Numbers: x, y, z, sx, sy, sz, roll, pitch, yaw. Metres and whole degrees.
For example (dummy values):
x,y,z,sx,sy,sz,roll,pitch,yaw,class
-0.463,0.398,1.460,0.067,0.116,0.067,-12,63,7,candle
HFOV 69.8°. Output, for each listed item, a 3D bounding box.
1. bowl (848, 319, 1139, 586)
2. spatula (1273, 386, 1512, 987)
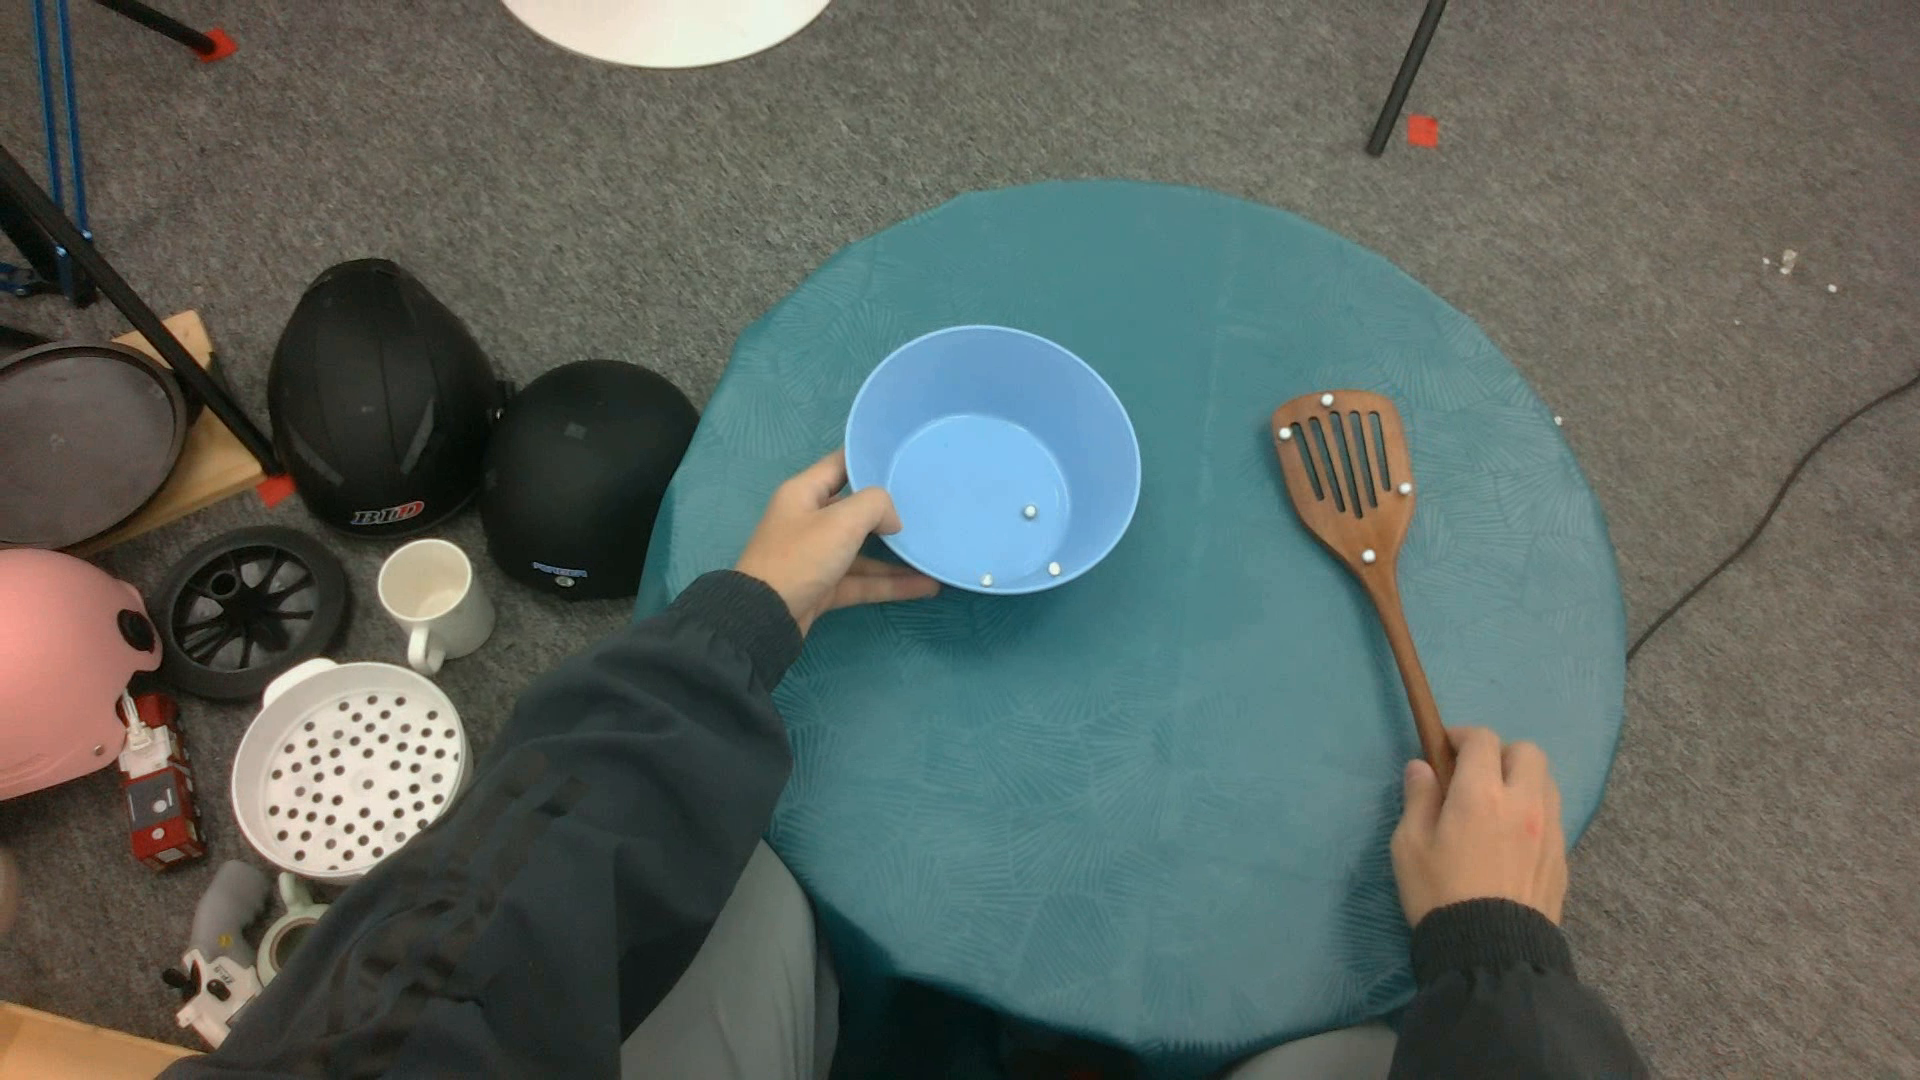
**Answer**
x,y,z,sx,sy,sz,roll,pitch,yaw,class
0.017,-0.043,0.843,0.176,0.070,0.176,3,66,-8,bowl
0.266,0.071,0.830,0.085,0.024,0.388,-5,61,-4,spatula
